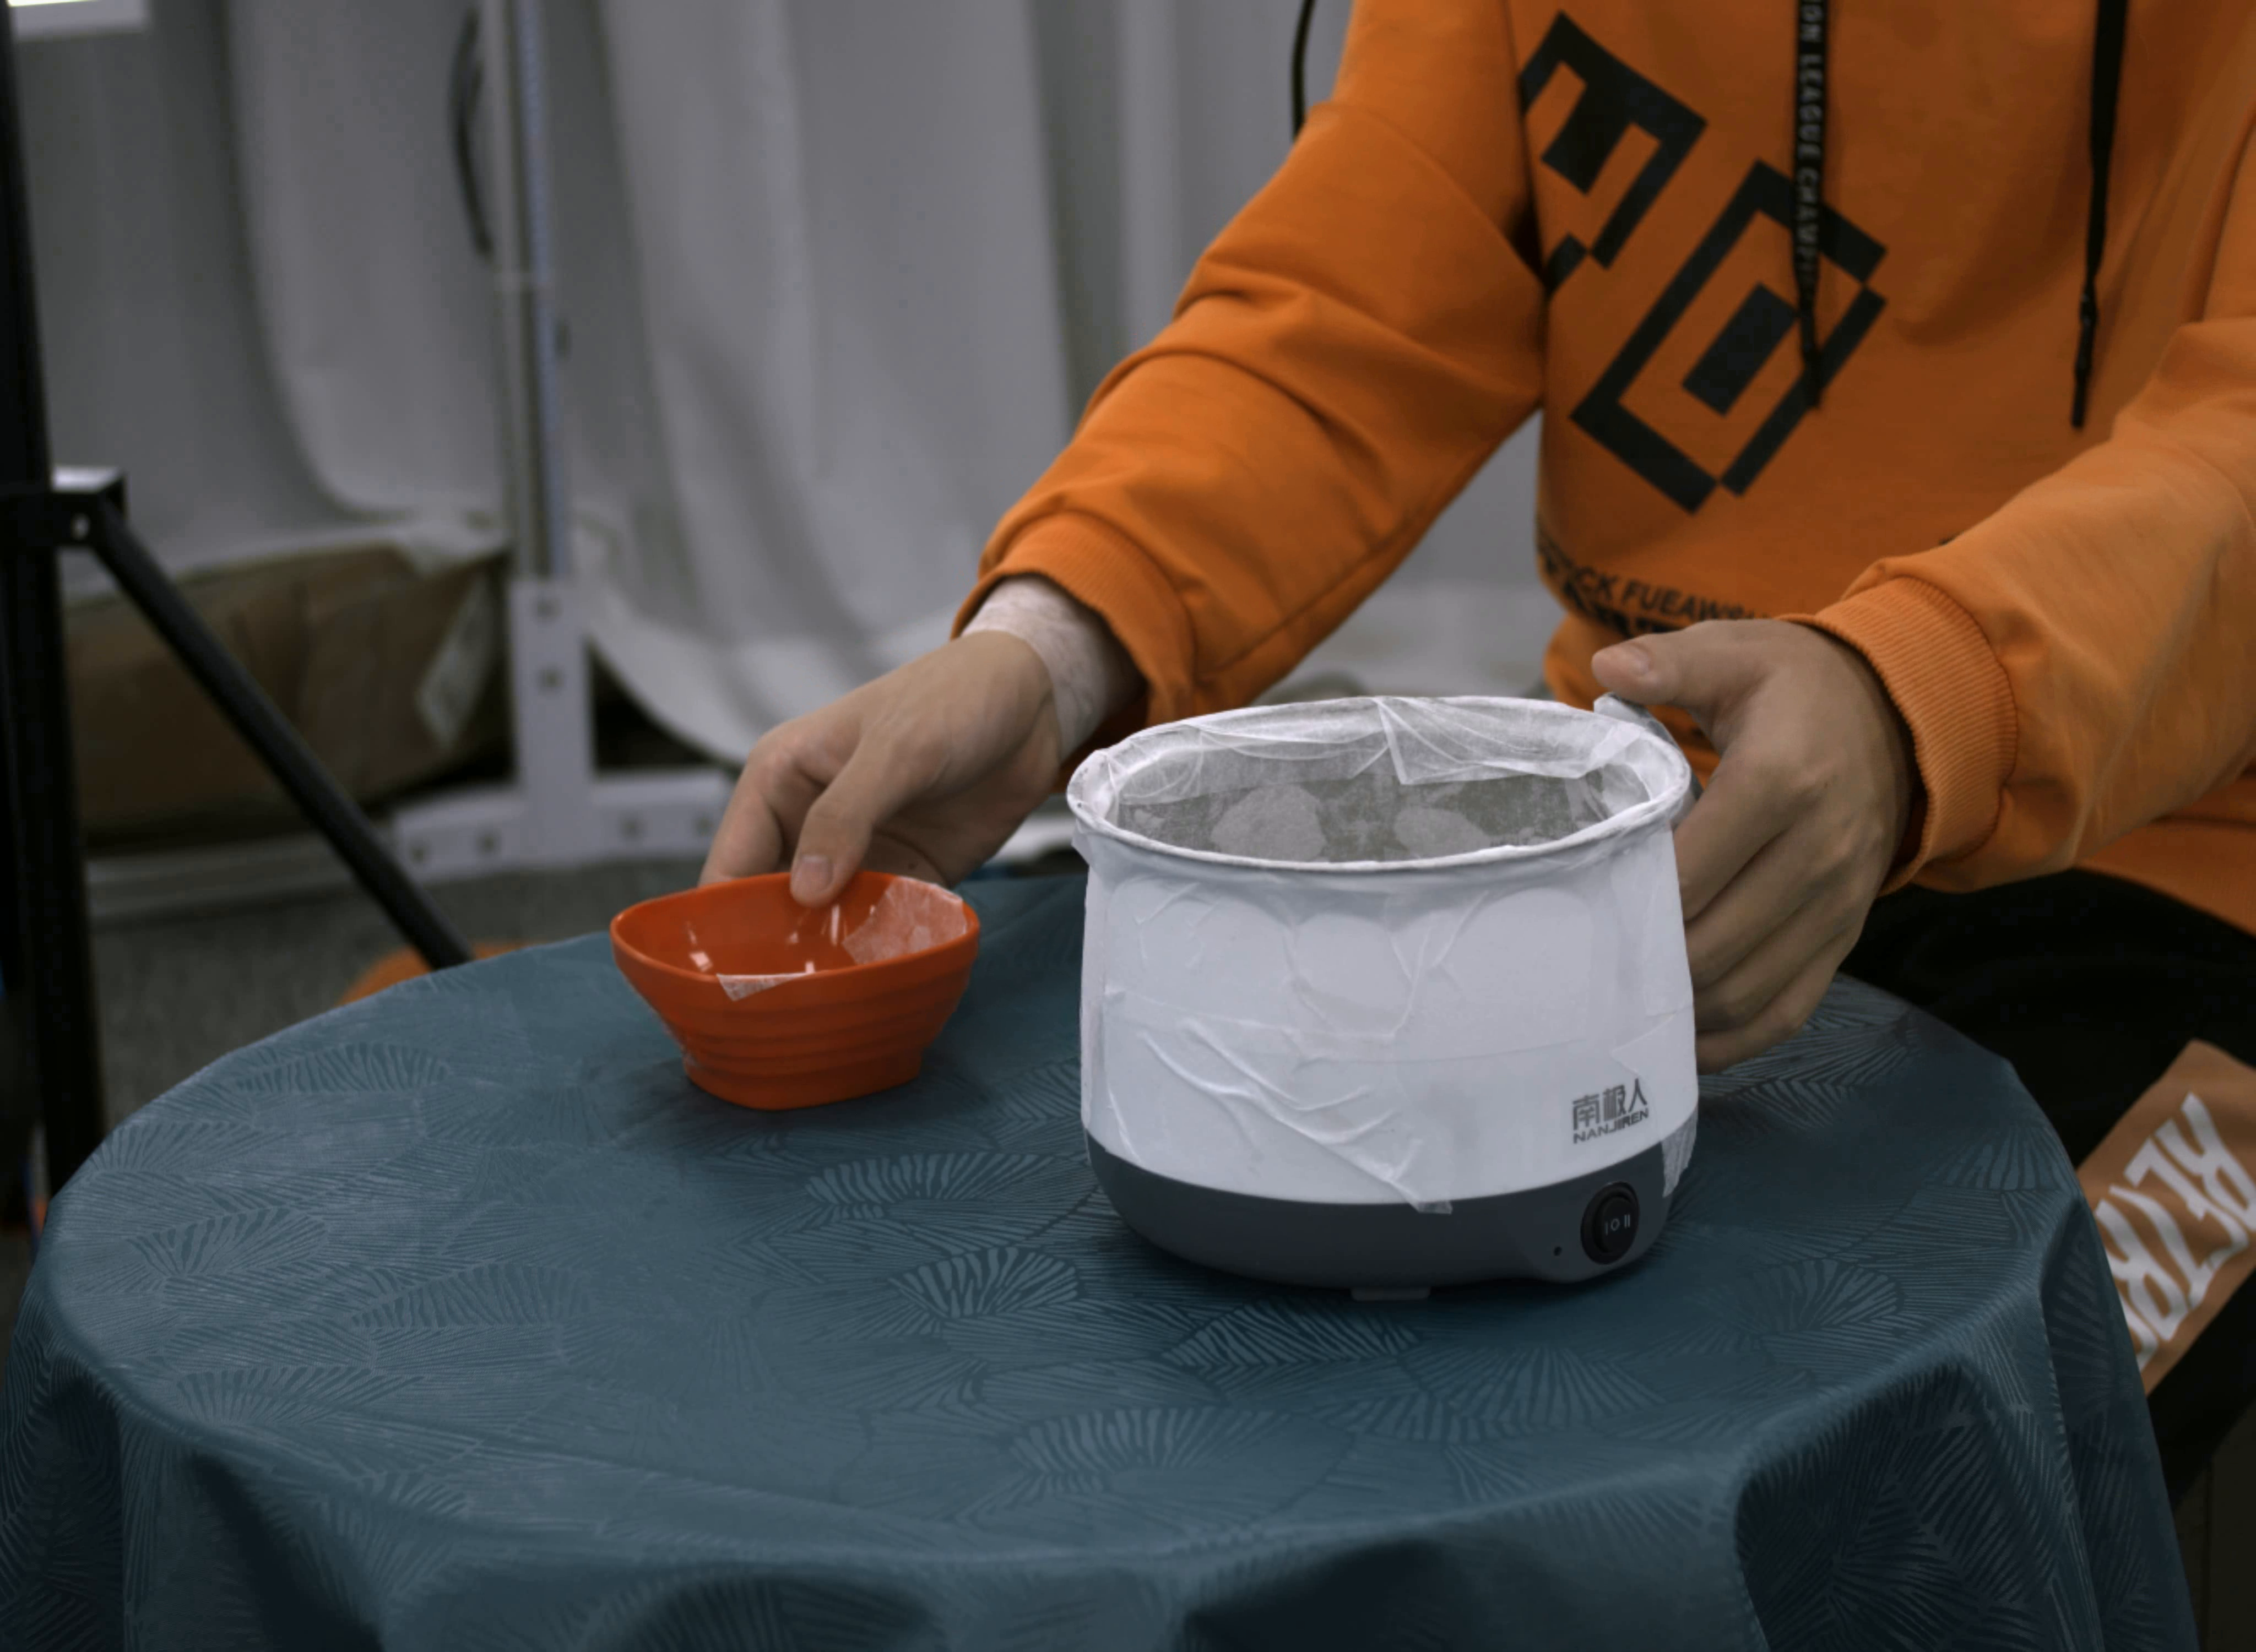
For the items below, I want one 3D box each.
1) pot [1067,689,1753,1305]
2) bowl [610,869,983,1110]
[{"bbox_3d":[0.093,0.041,1.526,0.228,0.136,0.183,-17,21,-40],"label":"pot"},{"bbox_3d":[-0.103,0.053,1.675,0.118,0.051,0.119,-4,15,0],"label":"bowl"}]
